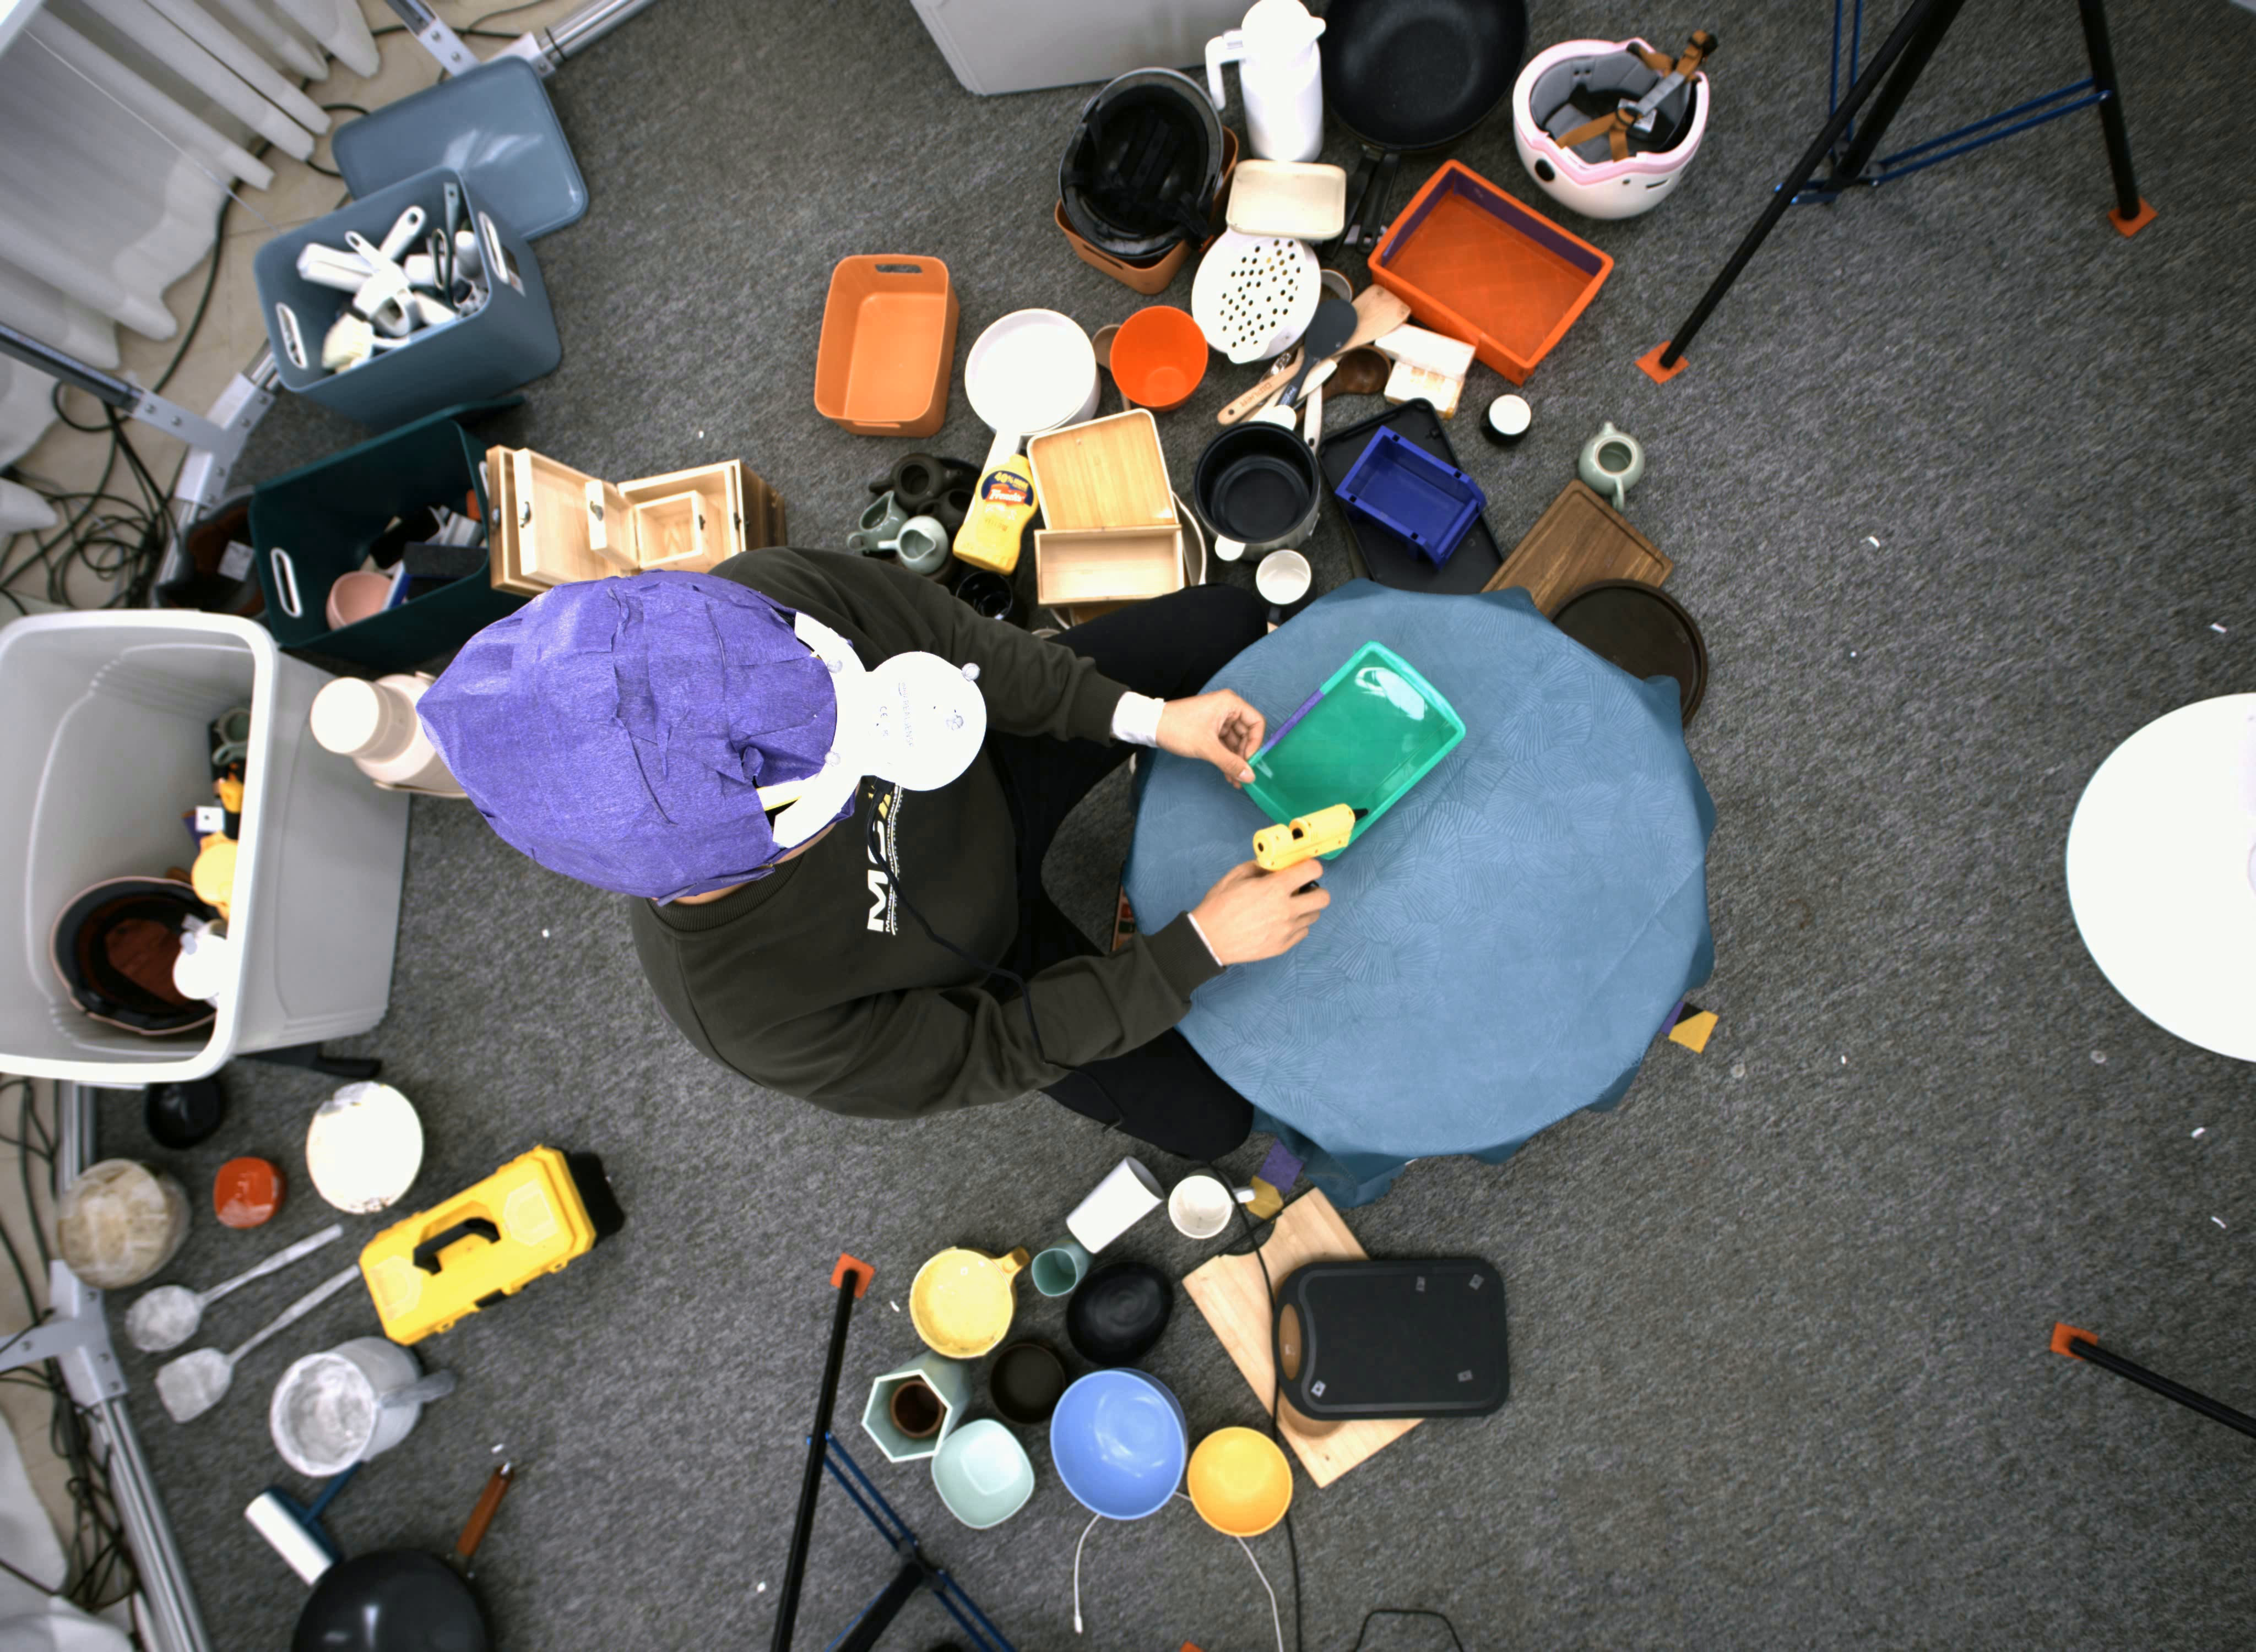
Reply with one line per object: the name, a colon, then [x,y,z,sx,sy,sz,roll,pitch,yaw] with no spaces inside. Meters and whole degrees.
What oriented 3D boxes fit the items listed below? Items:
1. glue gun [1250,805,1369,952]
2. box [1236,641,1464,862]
glue gun: [0.186,0.043,1.376,0.031,0.149,0.136,31,135,47]
box: [0.225,-0.081,1.407,0.139,0.064,0.214,41,113,-6]
